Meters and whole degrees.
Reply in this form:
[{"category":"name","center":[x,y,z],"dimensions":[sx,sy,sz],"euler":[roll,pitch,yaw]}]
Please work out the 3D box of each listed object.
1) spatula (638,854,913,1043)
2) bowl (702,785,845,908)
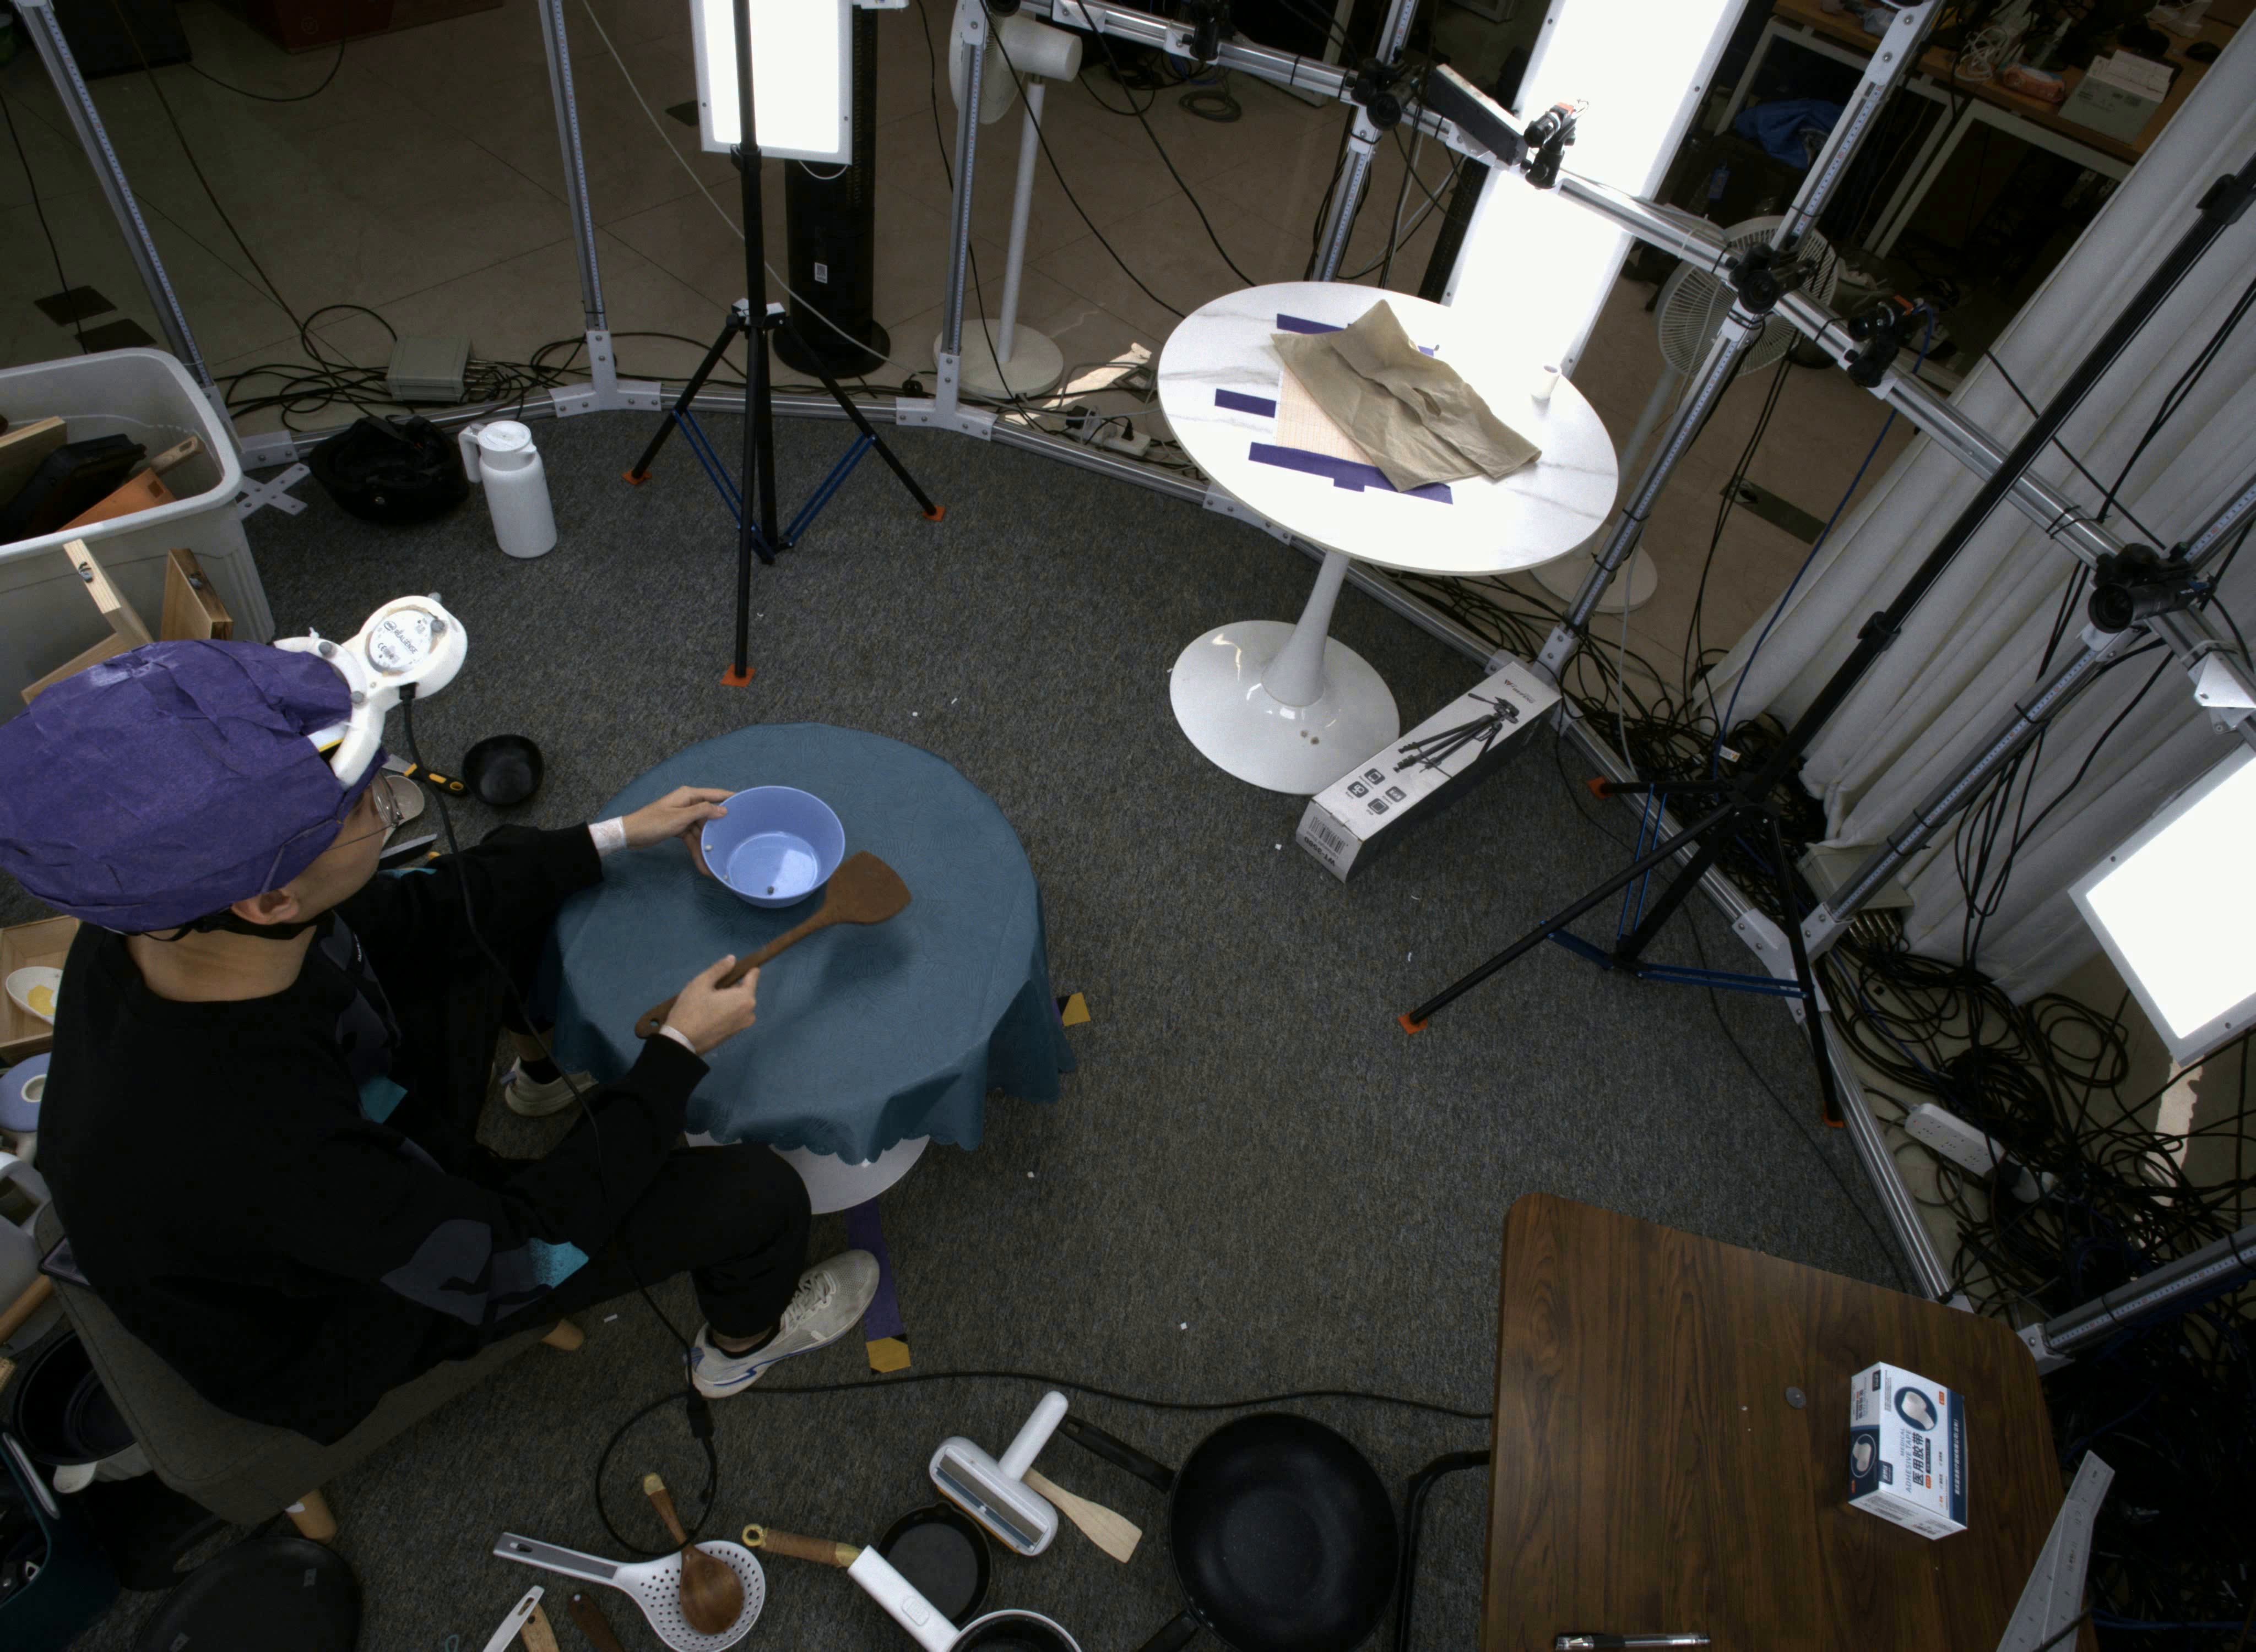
[{"category":"spatula","center":[-0.404,0.141,1.490],"dimensions":[0.095,0.016,0.387],"euler":[45,44,9]},{"category":"bowl","center":[-0.449,0.036,1.649],"dimensions":[0.176,0.071,0.173],"euler":[8,53,-9]}]
